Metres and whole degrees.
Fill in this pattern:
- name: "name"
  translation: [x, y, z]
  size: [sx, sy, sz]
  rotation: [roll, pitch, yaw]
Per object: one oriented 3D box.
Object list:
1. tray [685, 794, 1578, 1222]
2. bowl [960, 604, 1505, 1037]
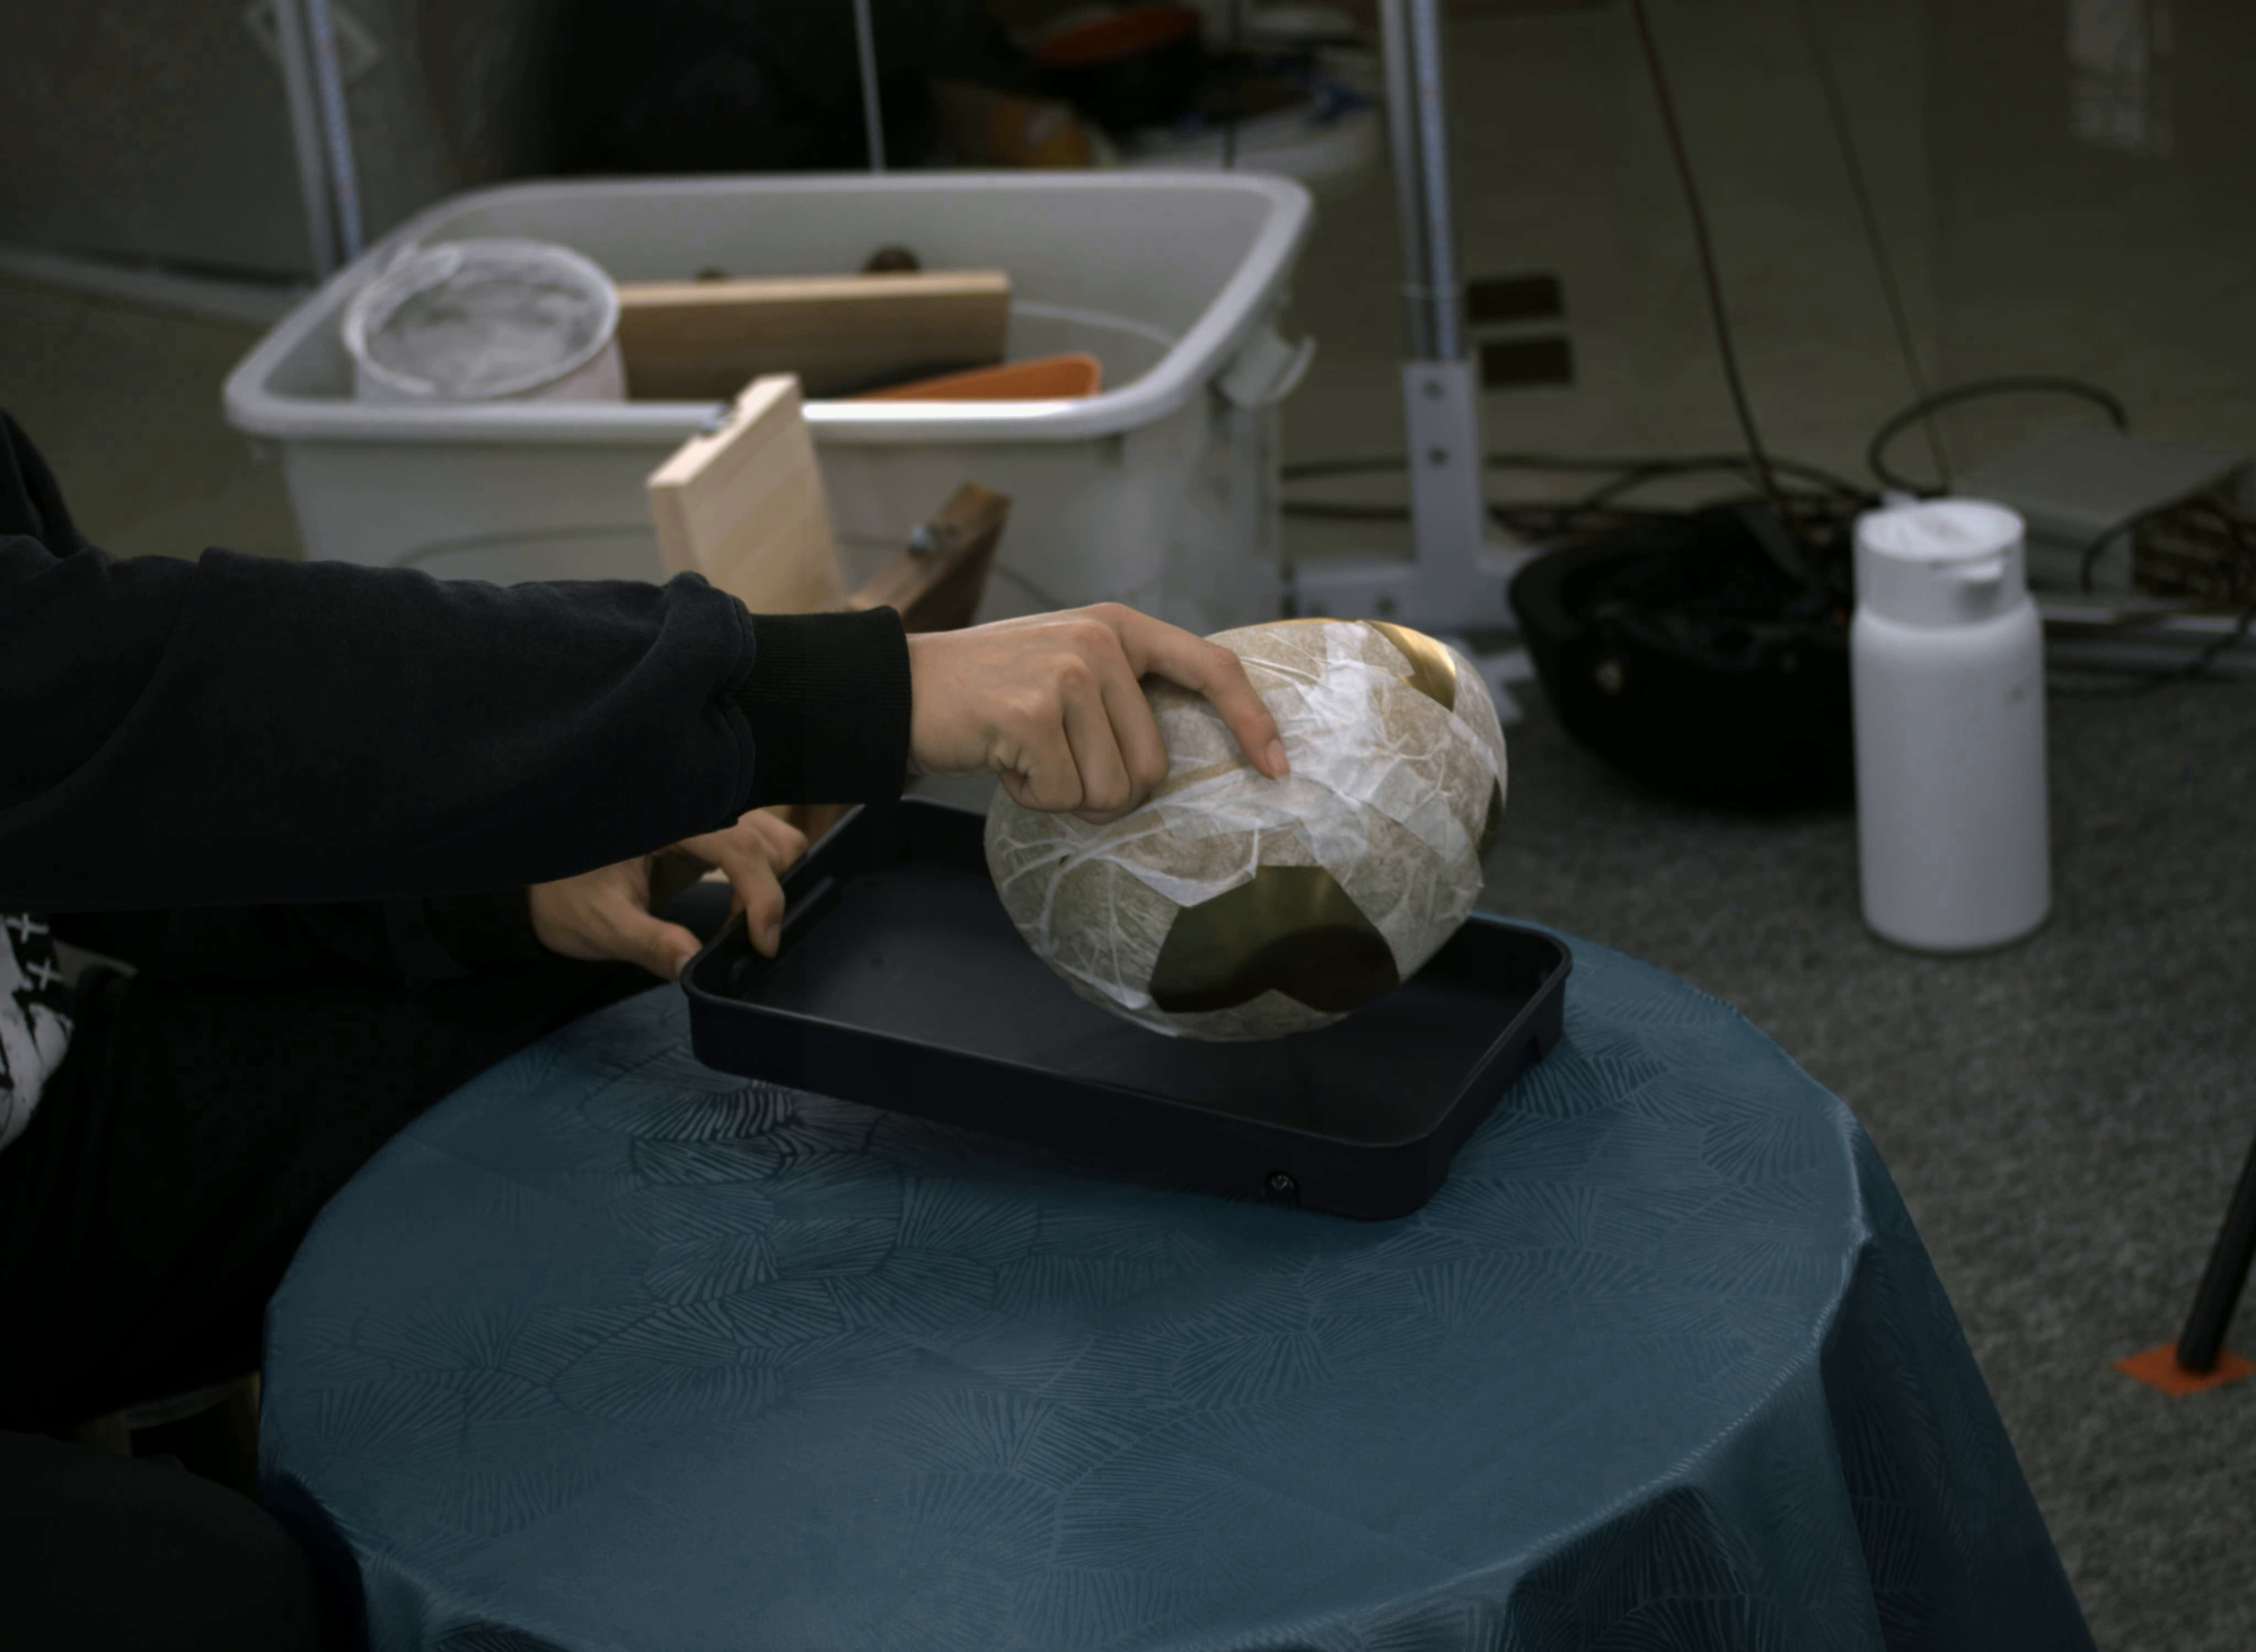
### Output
- name: "tray"
  translation: [0.001, 0.068, 2.222]
  size: [0.316, 0.037, 0.182]
  rotation: [12, 32, 23]
- name: "bowl"
  translation: [0.048, 0.018, 2.135]
  size: [0.214, 0.218, 0.093]
  rotation: [-10, 58, -9]
